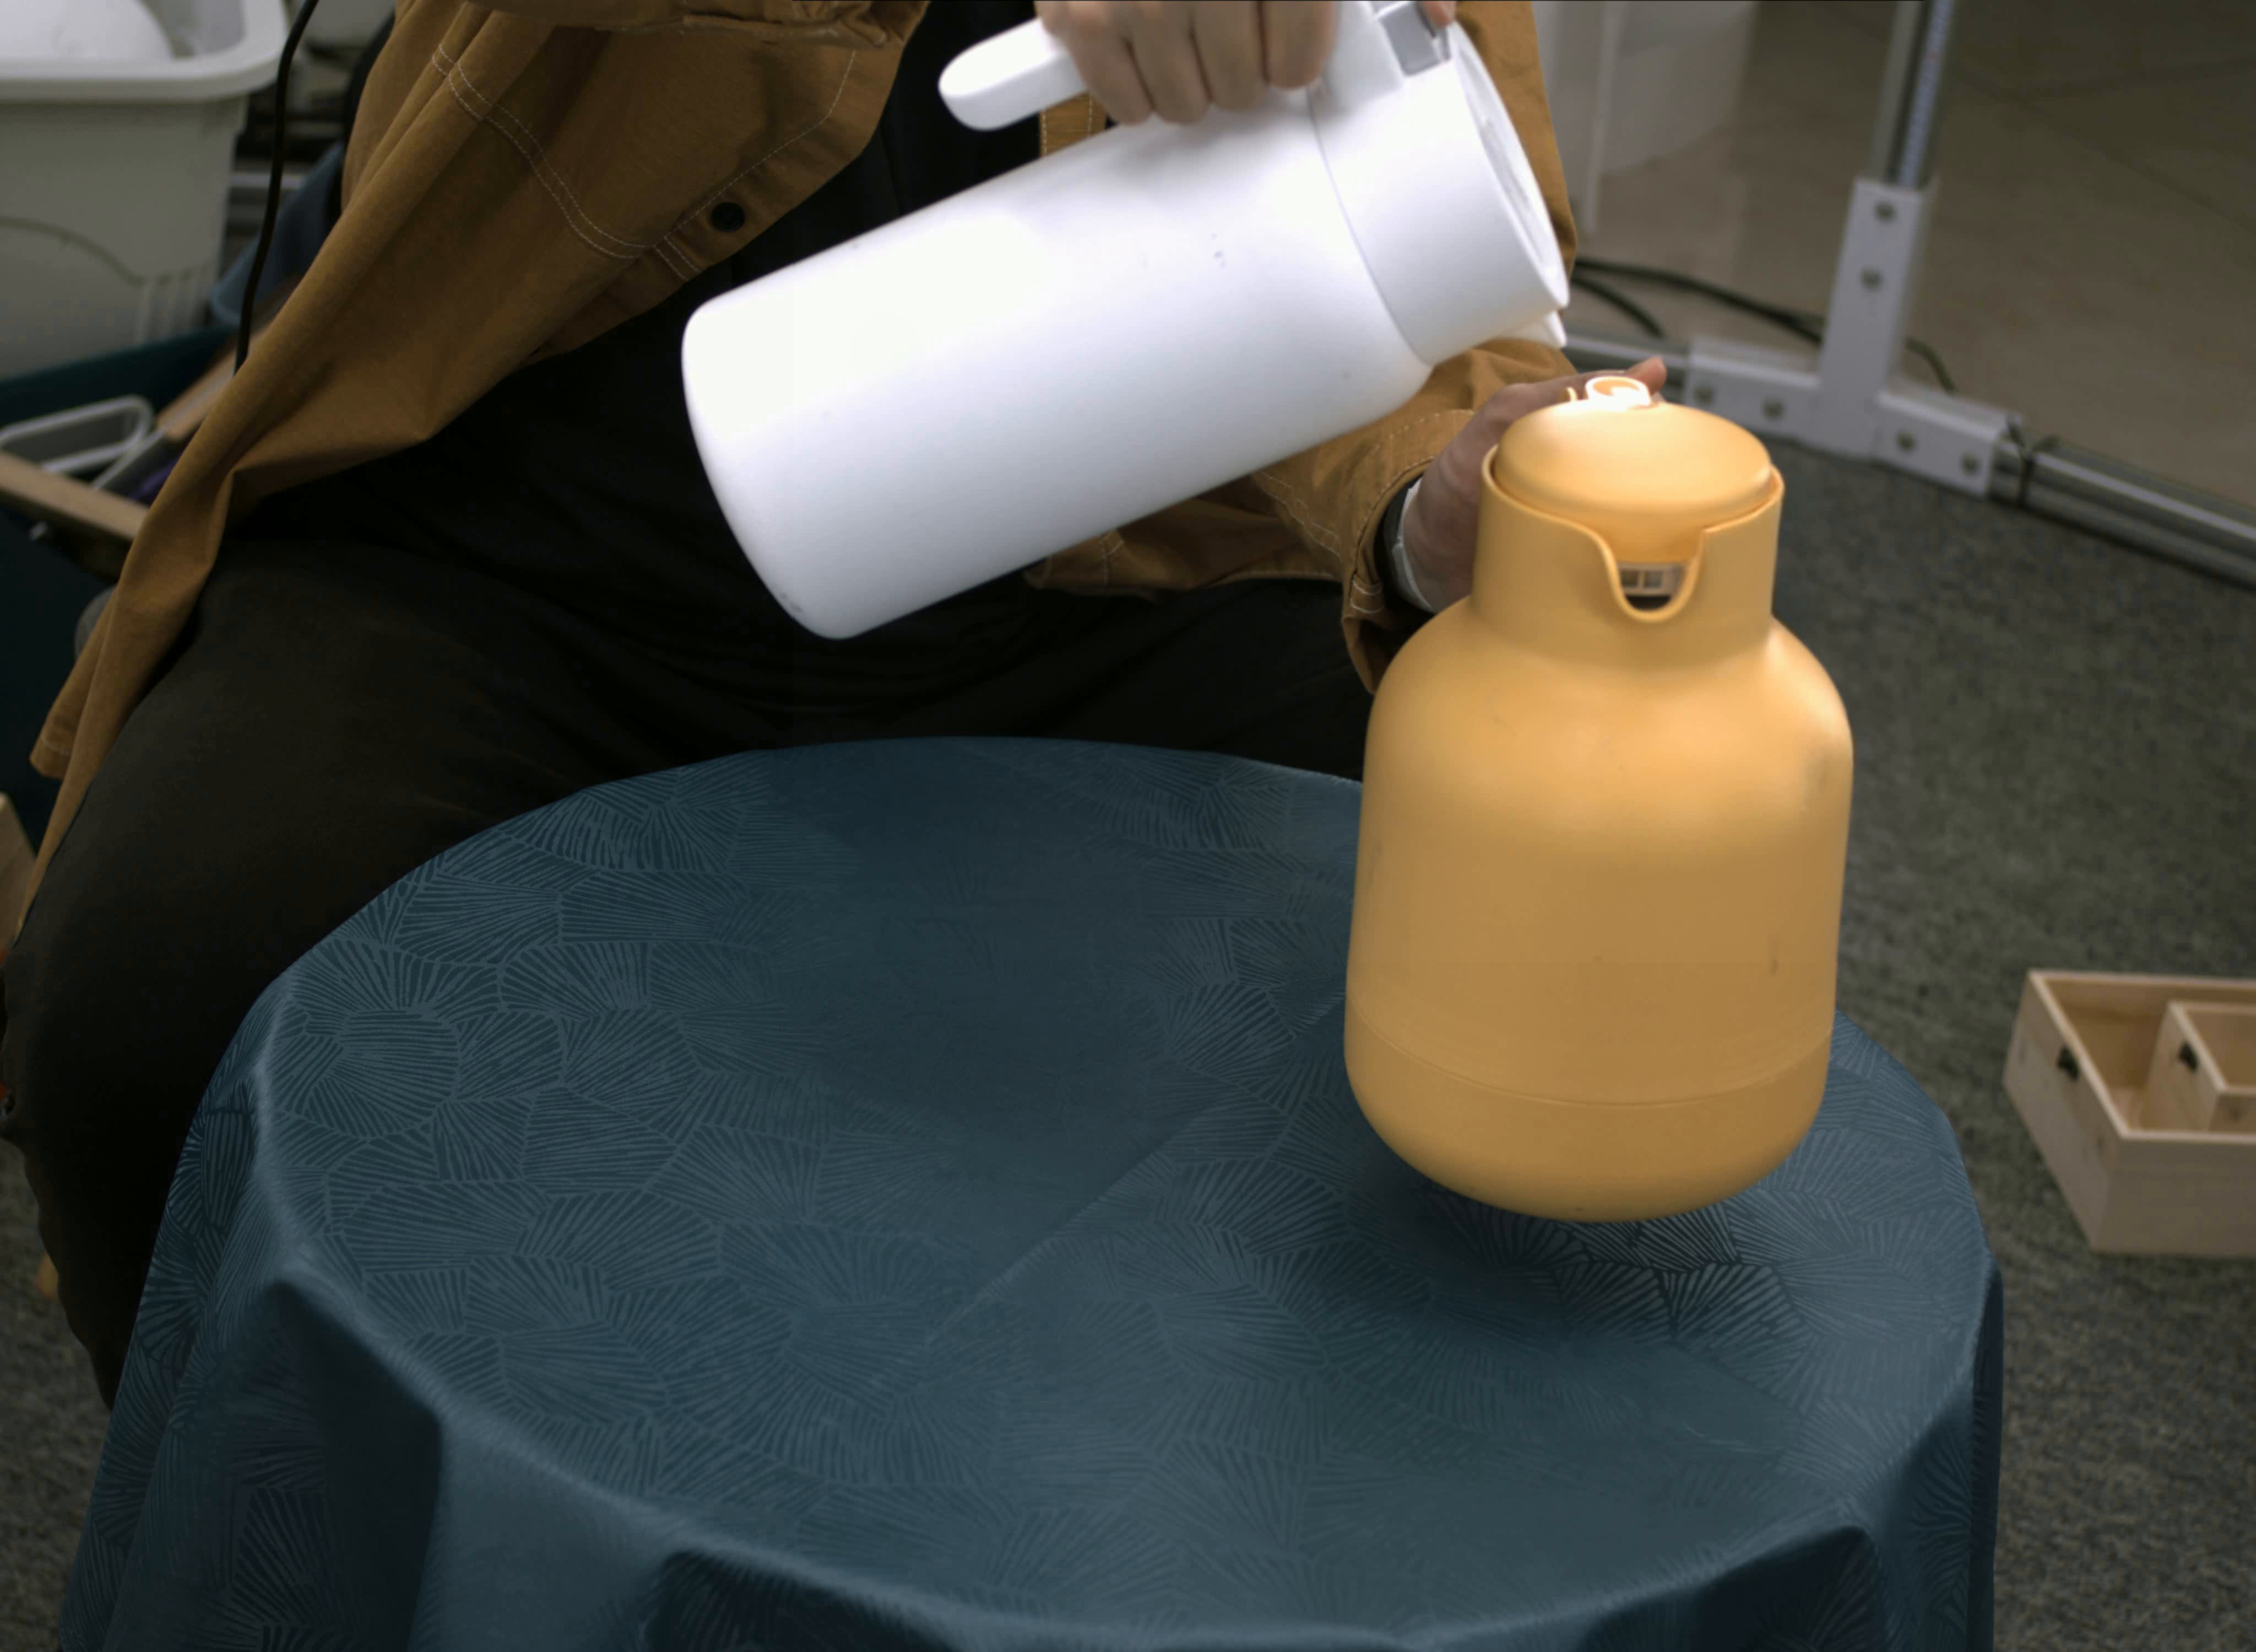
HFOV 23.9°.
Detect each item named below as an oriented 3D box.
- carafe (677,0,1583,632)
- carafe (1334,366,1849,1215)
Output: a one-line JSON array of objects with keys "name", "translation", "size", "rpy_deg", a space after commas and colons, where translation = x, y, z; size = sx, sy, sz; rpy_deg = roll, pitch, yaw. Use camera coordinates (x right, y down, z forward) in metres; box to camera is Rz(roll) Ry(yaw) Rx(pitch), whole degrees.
[{"name": "carafe", "translation": [-0.009, -0.173, 1.673], "size": [0.269, 0.171, 0.125], "rpy_deg": [-21, 34, 15]}, {"name": "carafe", "translation": [0.157, -0.021, 1.767], "size": [0.163, 0.259, 0.203], "rpy_deg": [5, 27, 1]}]
